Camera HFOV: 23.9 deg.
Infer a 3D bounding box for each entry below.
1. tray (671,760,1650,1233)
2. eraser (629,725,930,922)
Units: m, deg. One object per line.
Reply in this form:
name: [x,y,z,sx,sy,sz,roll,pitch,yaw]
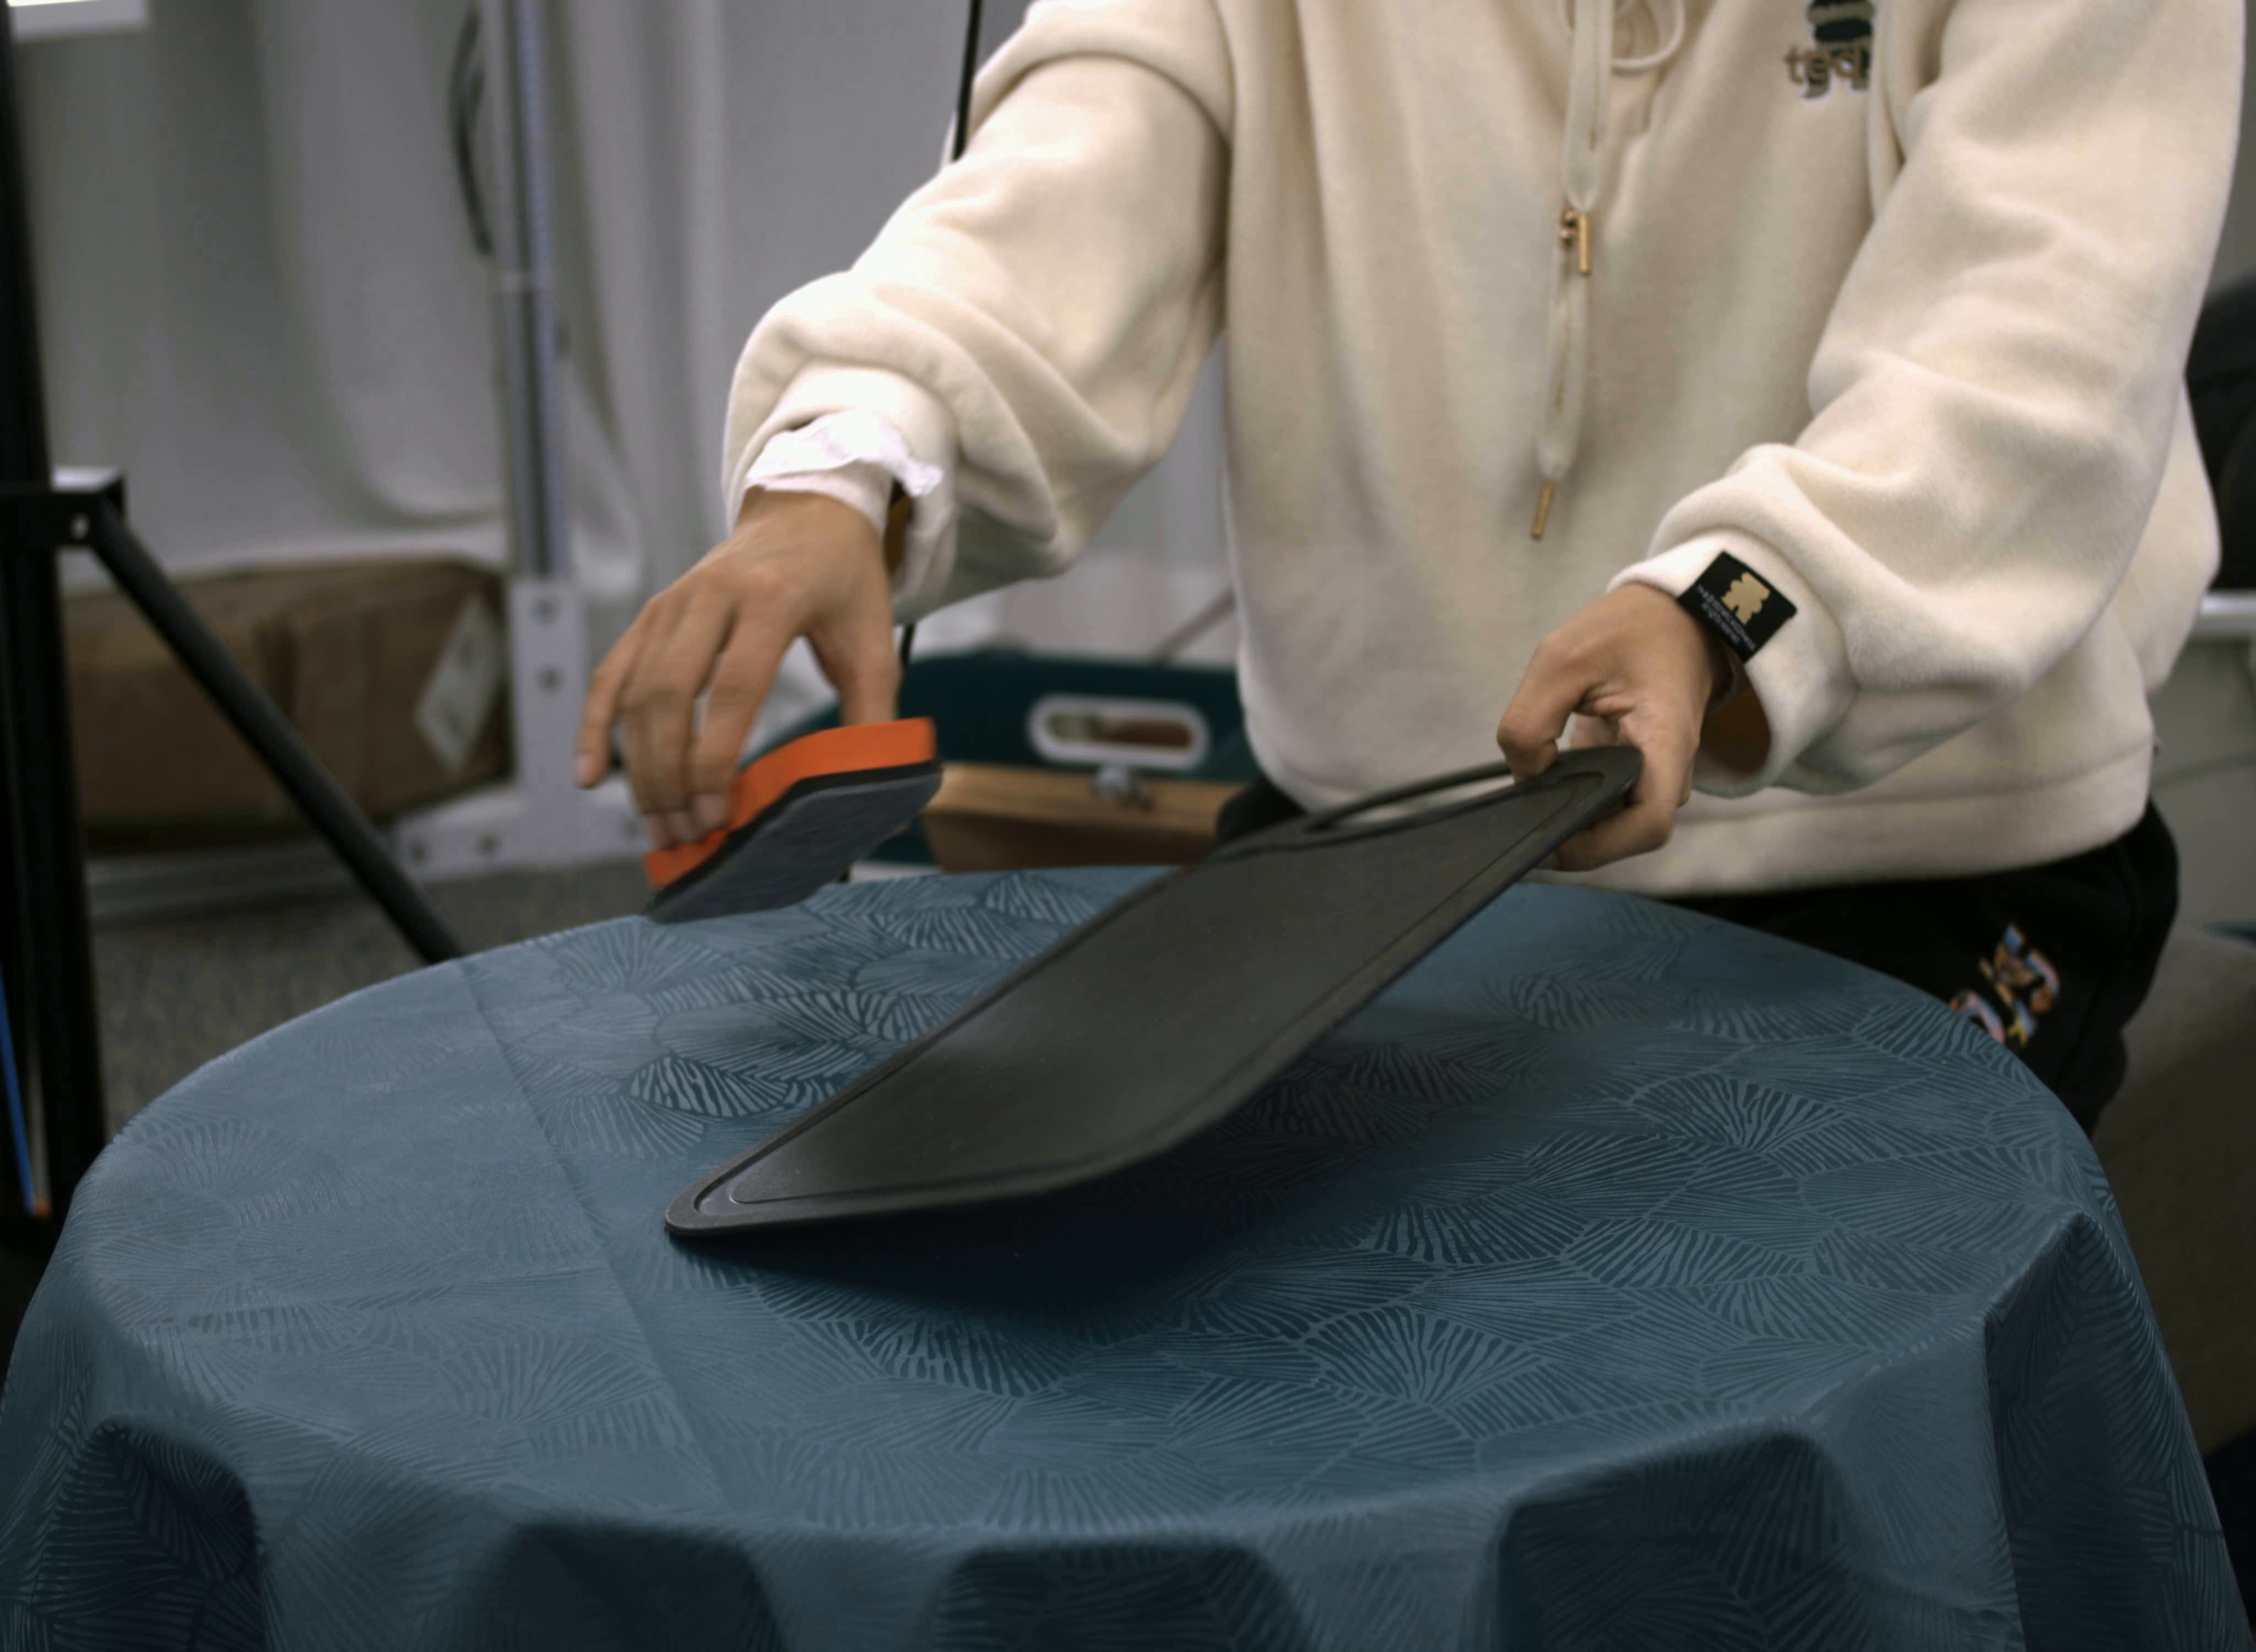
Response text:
tray: [0.017,0.046,1.590,0.215,0.010,0.320,-13,14,42]
eraser: [-0.111,0.000,1.685,0.057,0.023,0.109,-8,-17,-35]
